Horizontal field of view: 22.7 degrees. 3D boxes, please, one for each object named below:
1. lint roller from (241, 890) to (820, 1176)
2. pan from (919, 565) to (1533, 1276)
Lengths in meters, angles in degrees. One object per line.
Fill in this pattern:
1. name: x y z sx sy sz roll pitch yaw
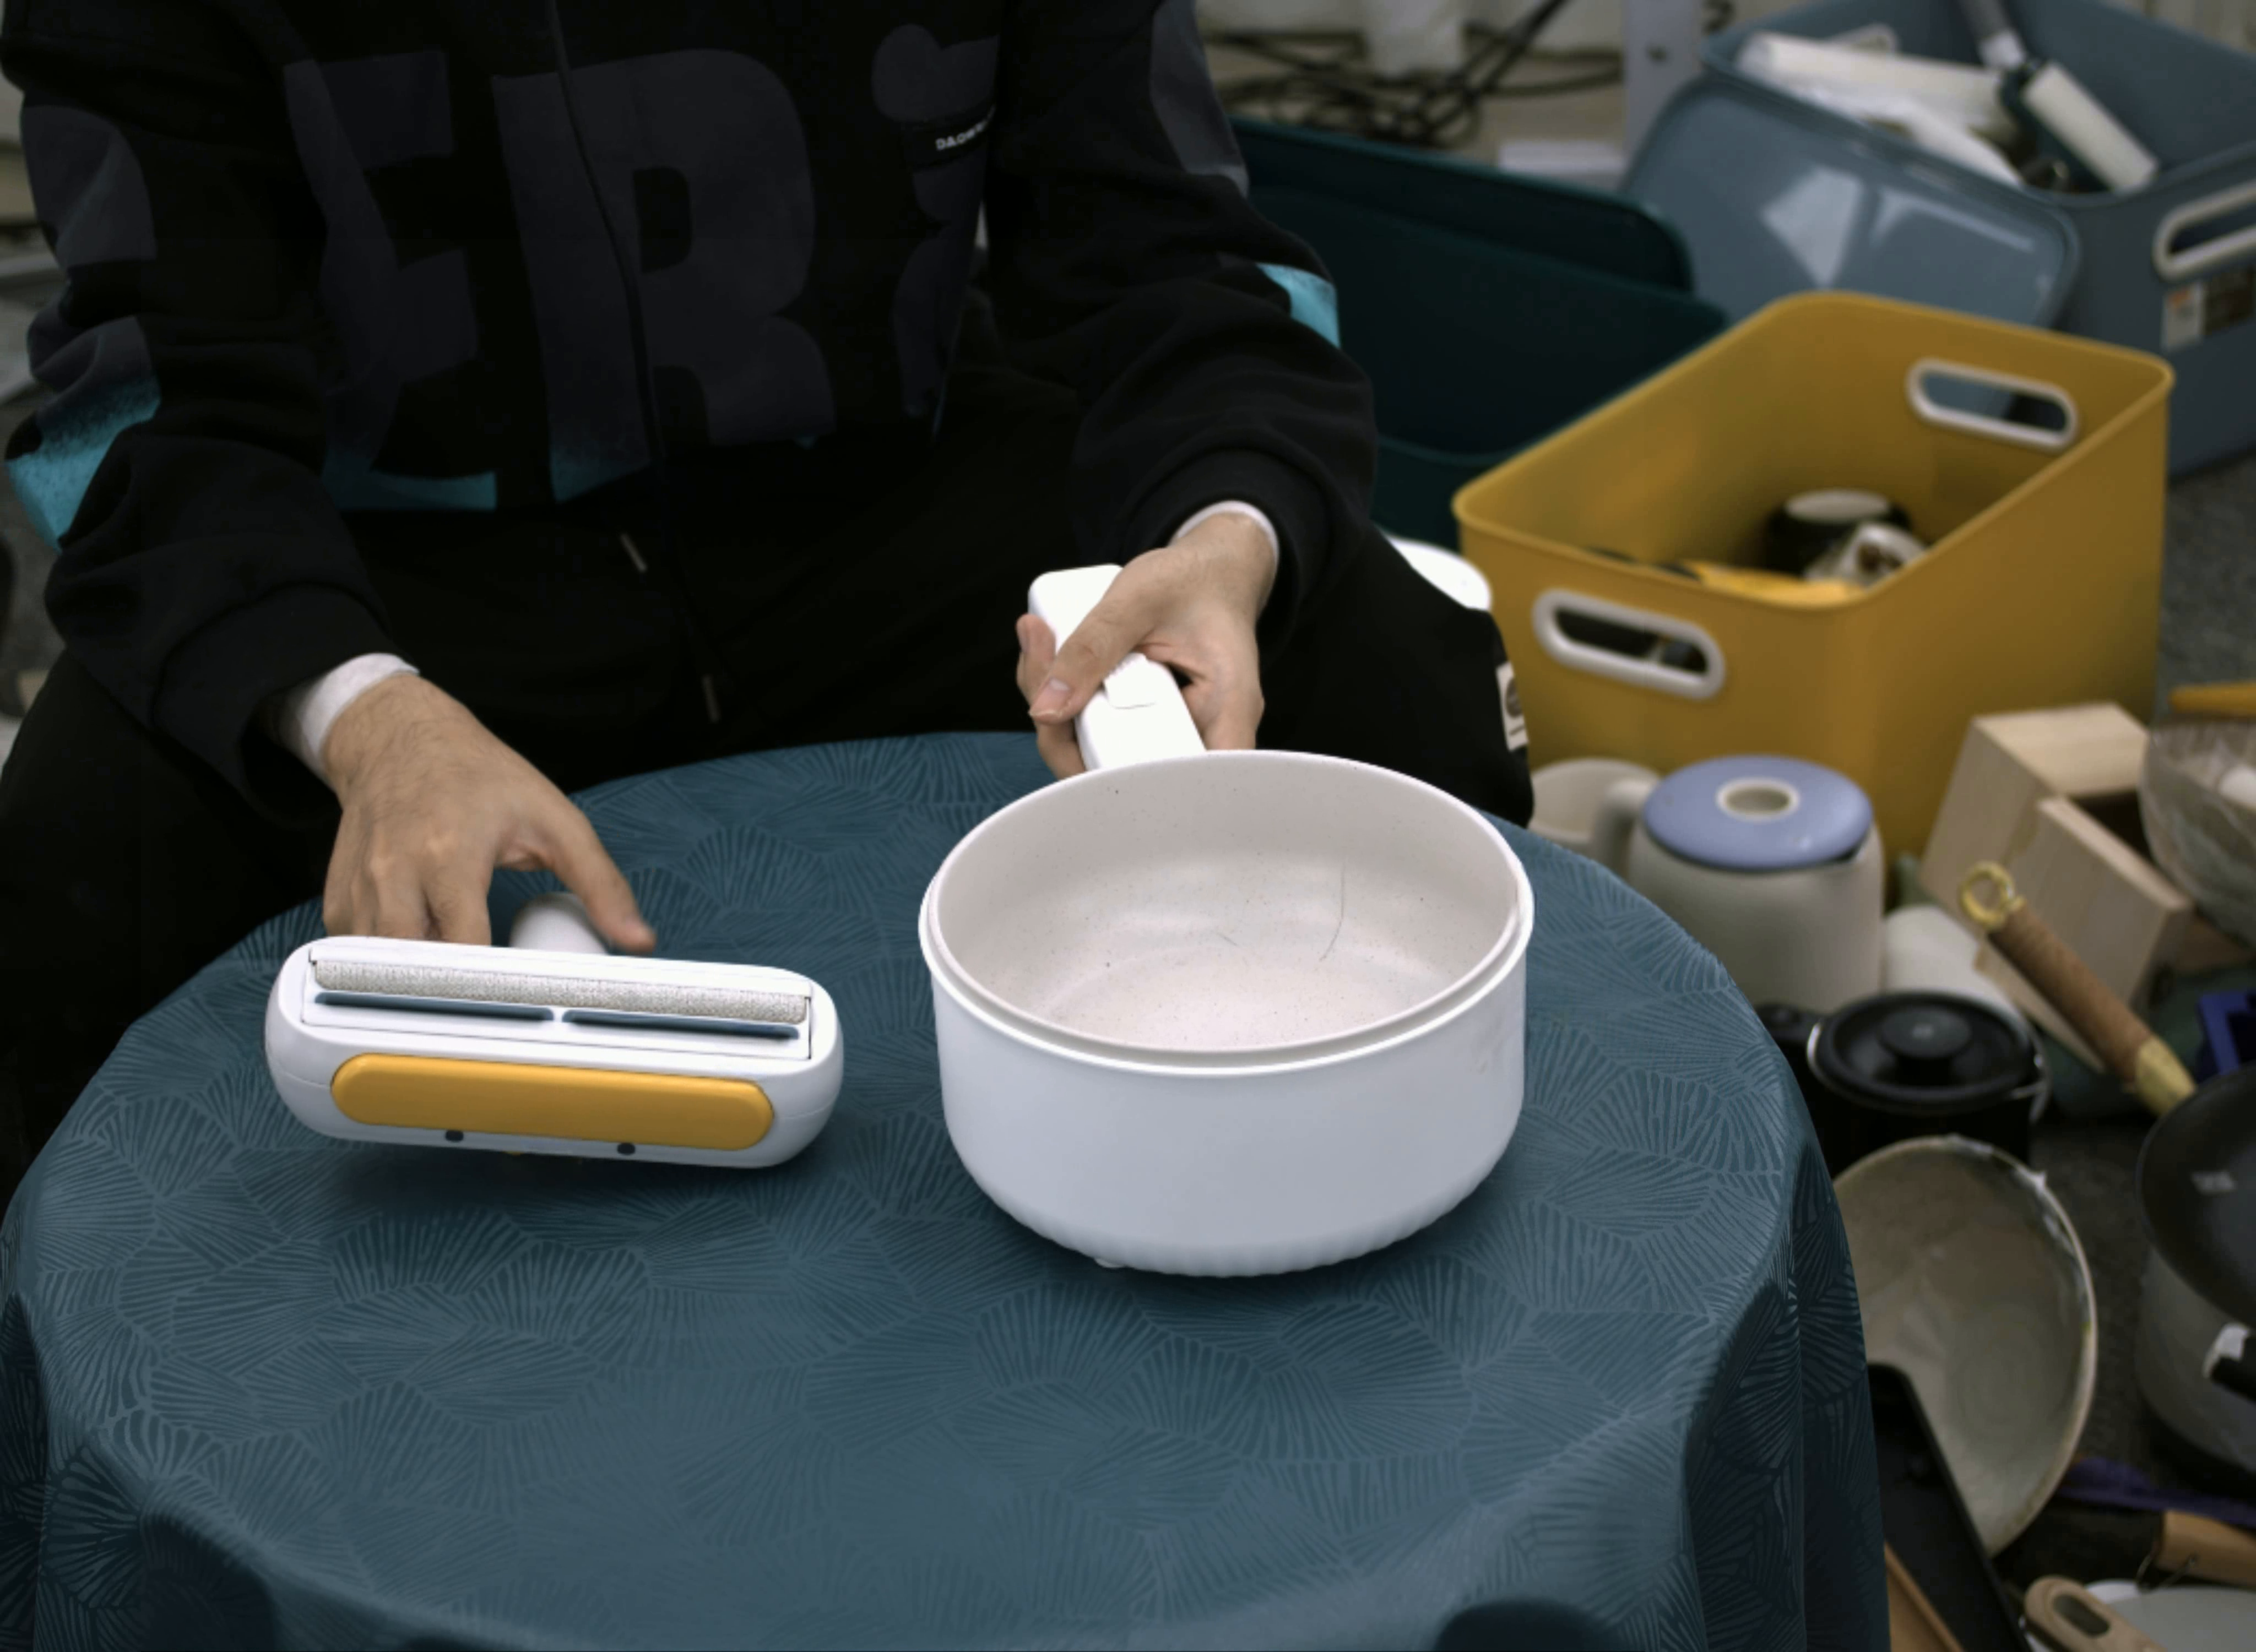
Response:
1. lint roller: -0.199 0.057 1.932 0.192 0.073 0.195 2 26 -2
2. pan: 0.018 0.029 1.920 0.201 0.101 0.359 -7 29 -9
